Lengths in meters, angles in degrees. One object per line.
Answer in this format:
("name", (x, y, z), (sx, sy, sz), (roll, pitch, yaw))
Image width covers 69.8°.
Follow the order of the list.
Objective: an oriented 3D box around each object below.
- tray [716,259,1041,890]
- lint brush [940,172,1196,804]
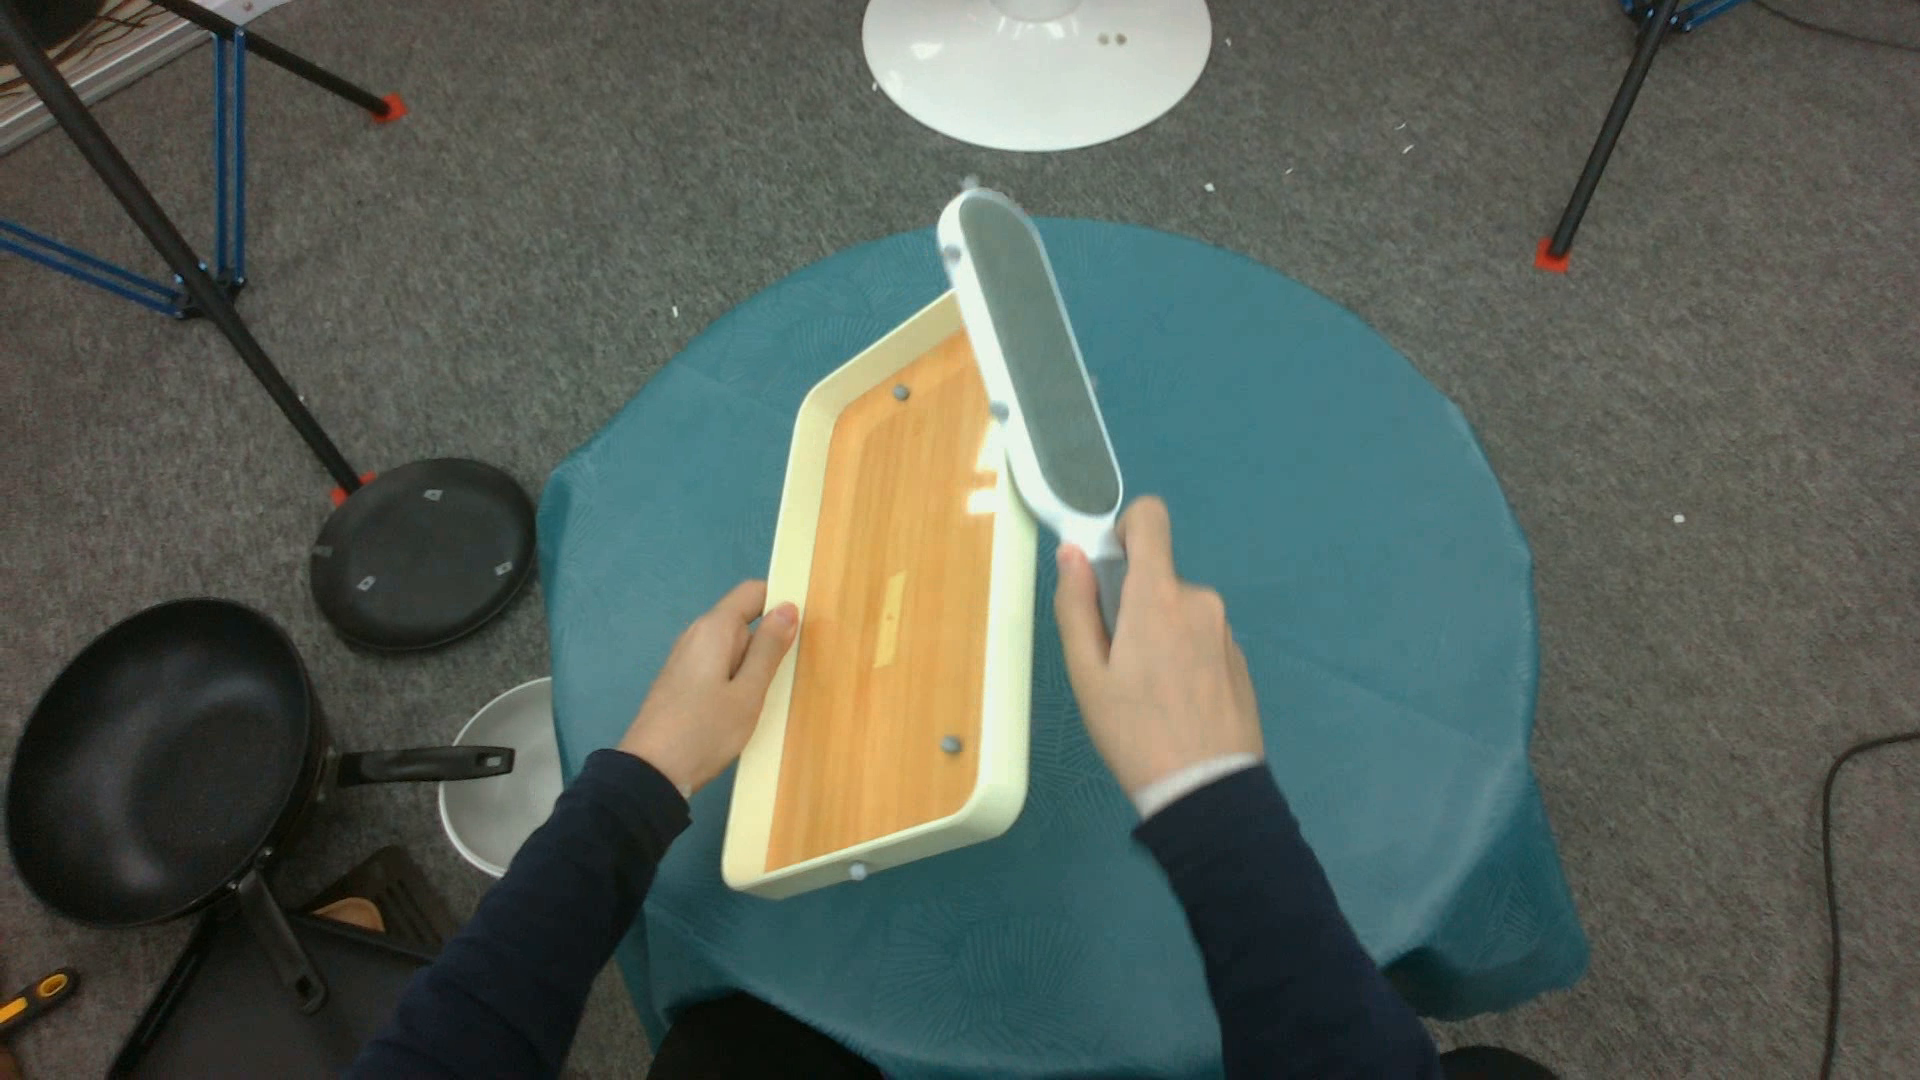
("tray", (-0.037, 0.009, 0.677), (0.027, 0.190, 0.301), (27, 53, -33))
("lint brush", (0.048, -0.032, 0.620), (0.060, 0.021, 0.309), (1, 67, -45))
